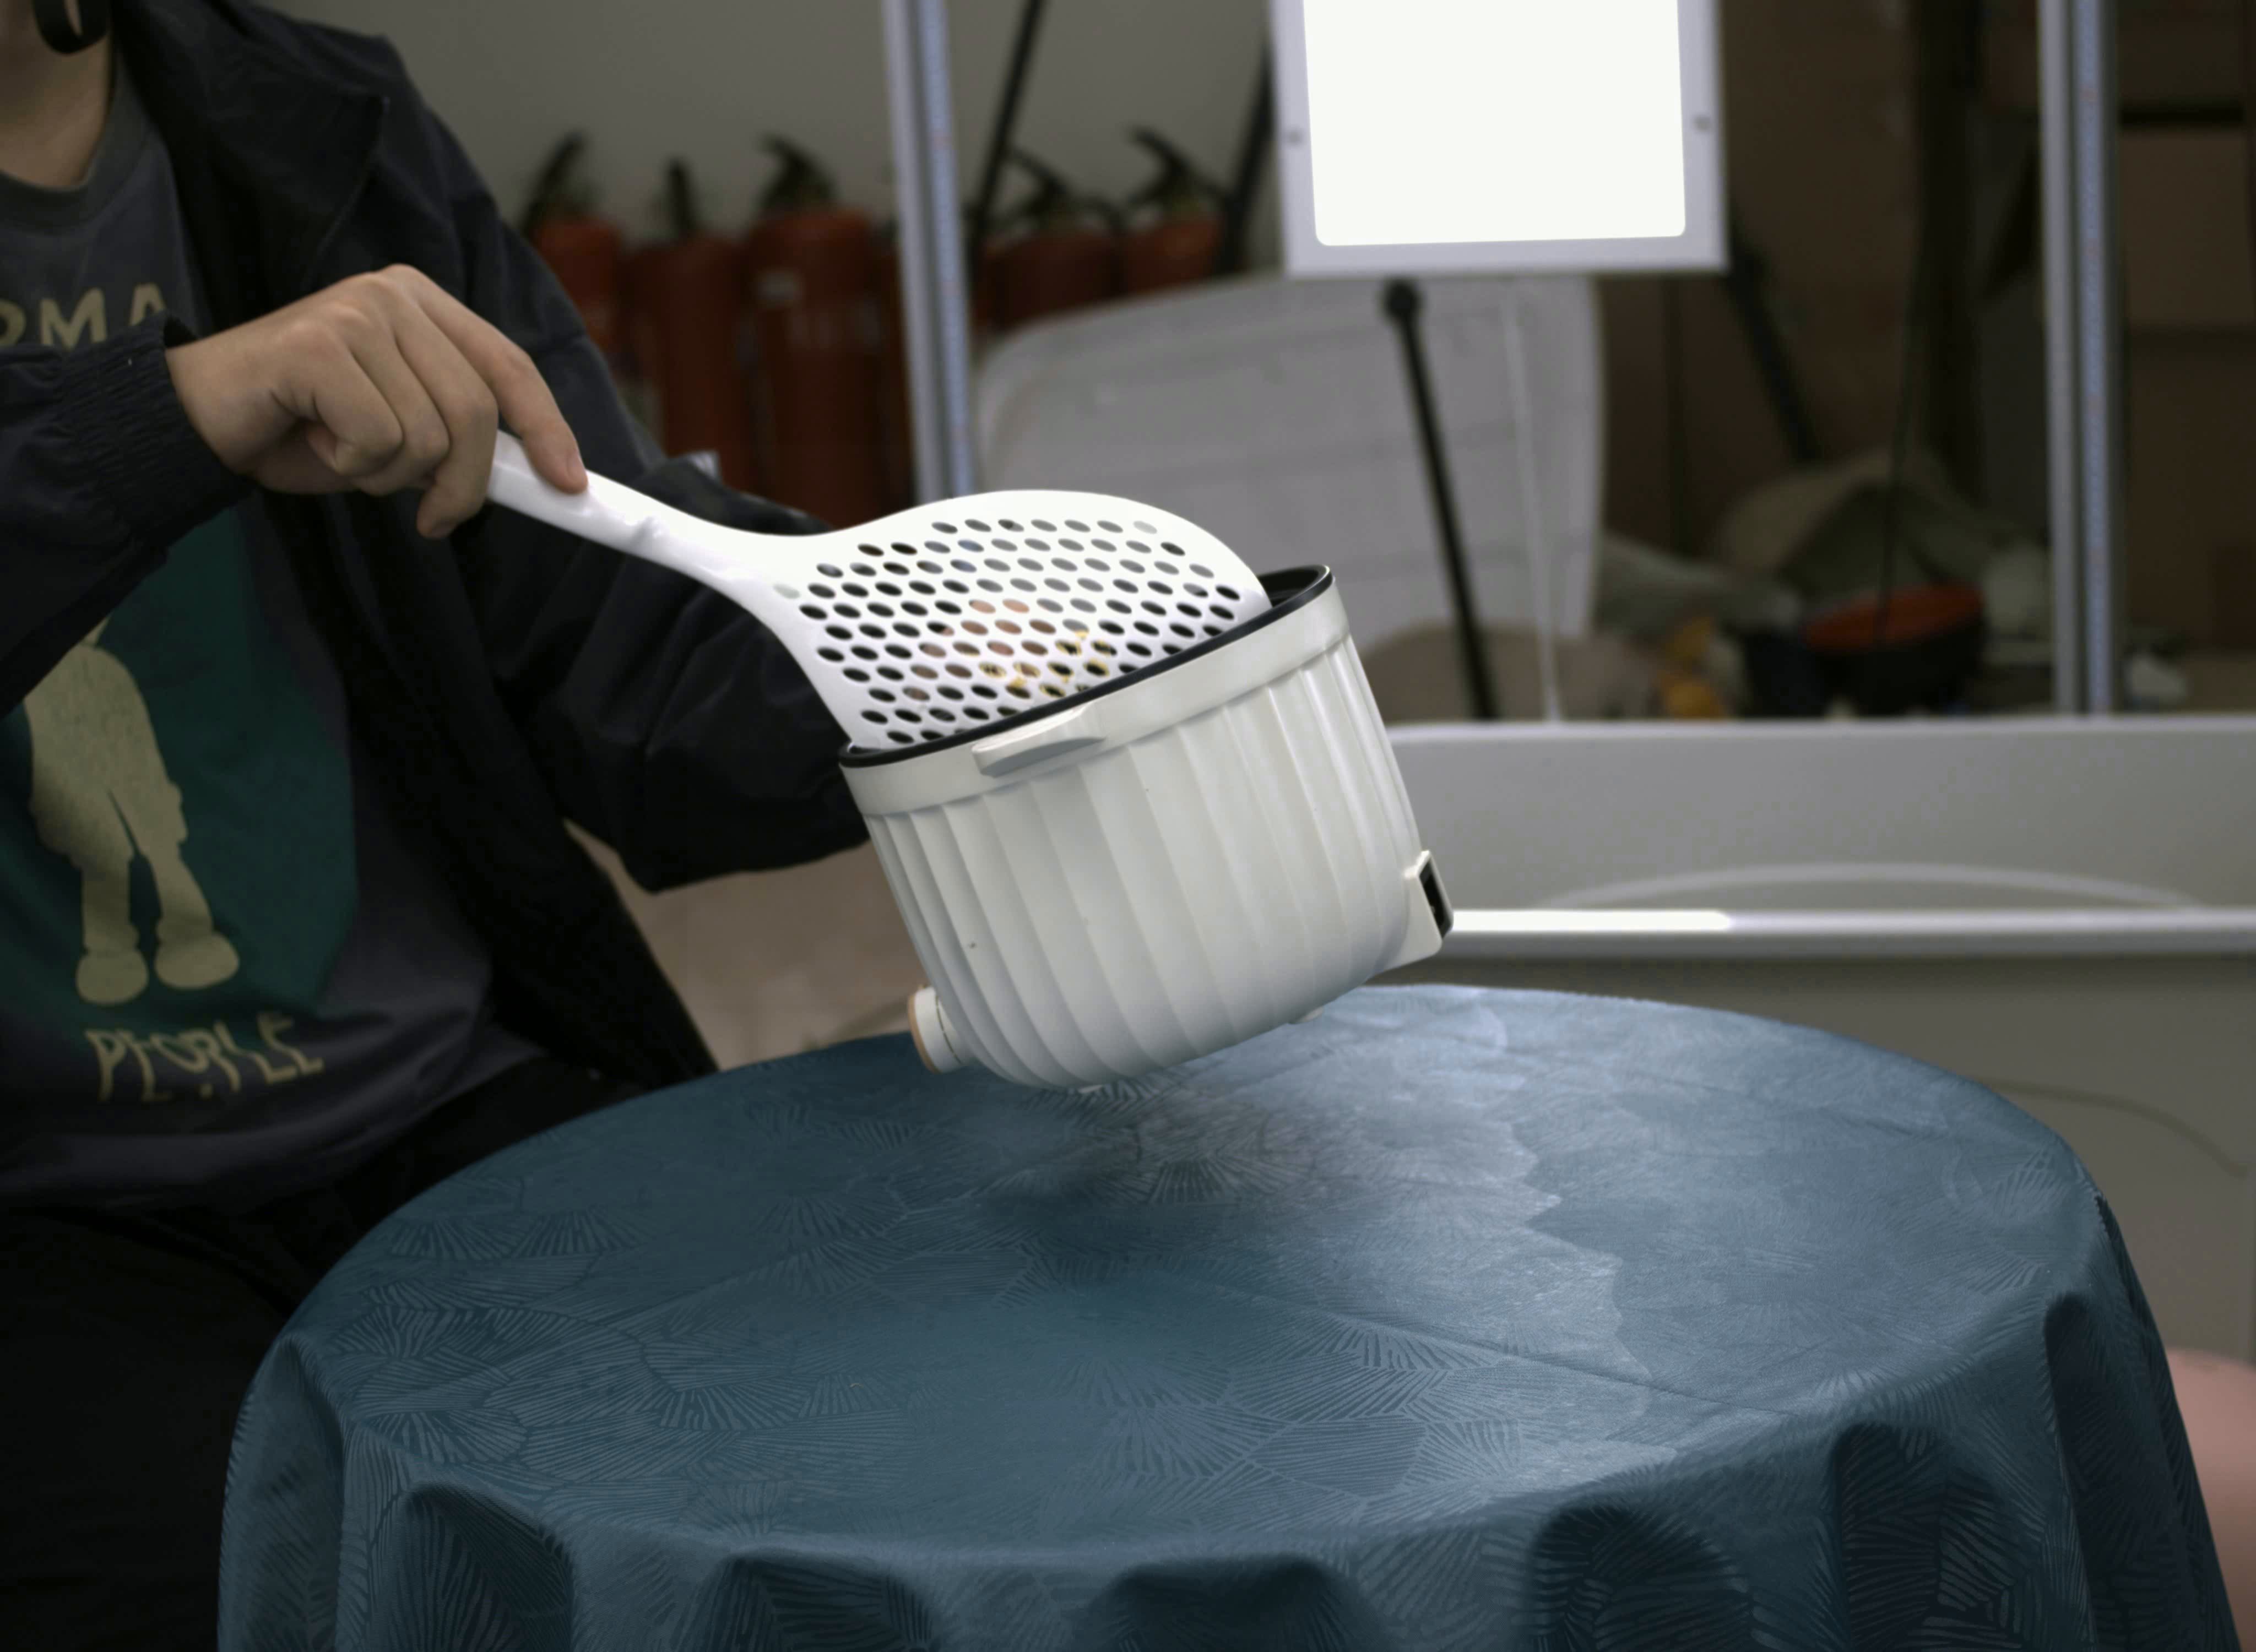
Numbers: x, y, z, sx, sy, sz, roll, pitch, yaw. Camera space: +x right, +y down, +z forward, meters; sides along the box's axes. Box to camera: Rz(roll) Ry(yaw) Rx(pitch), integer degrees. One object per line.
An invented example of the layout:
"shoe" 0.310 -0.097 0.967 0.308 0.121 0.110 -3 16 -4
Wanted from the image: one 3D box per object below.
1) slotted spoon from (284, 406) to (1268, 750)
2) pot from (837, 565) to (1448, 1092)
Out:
"slotted spoon" -0.121 -0.083 1.885 0.349 0.137 0.050 16 0 9
"pot" 0.002 0.006 1.888 0.192 0.143 0.237 -15 7 14
